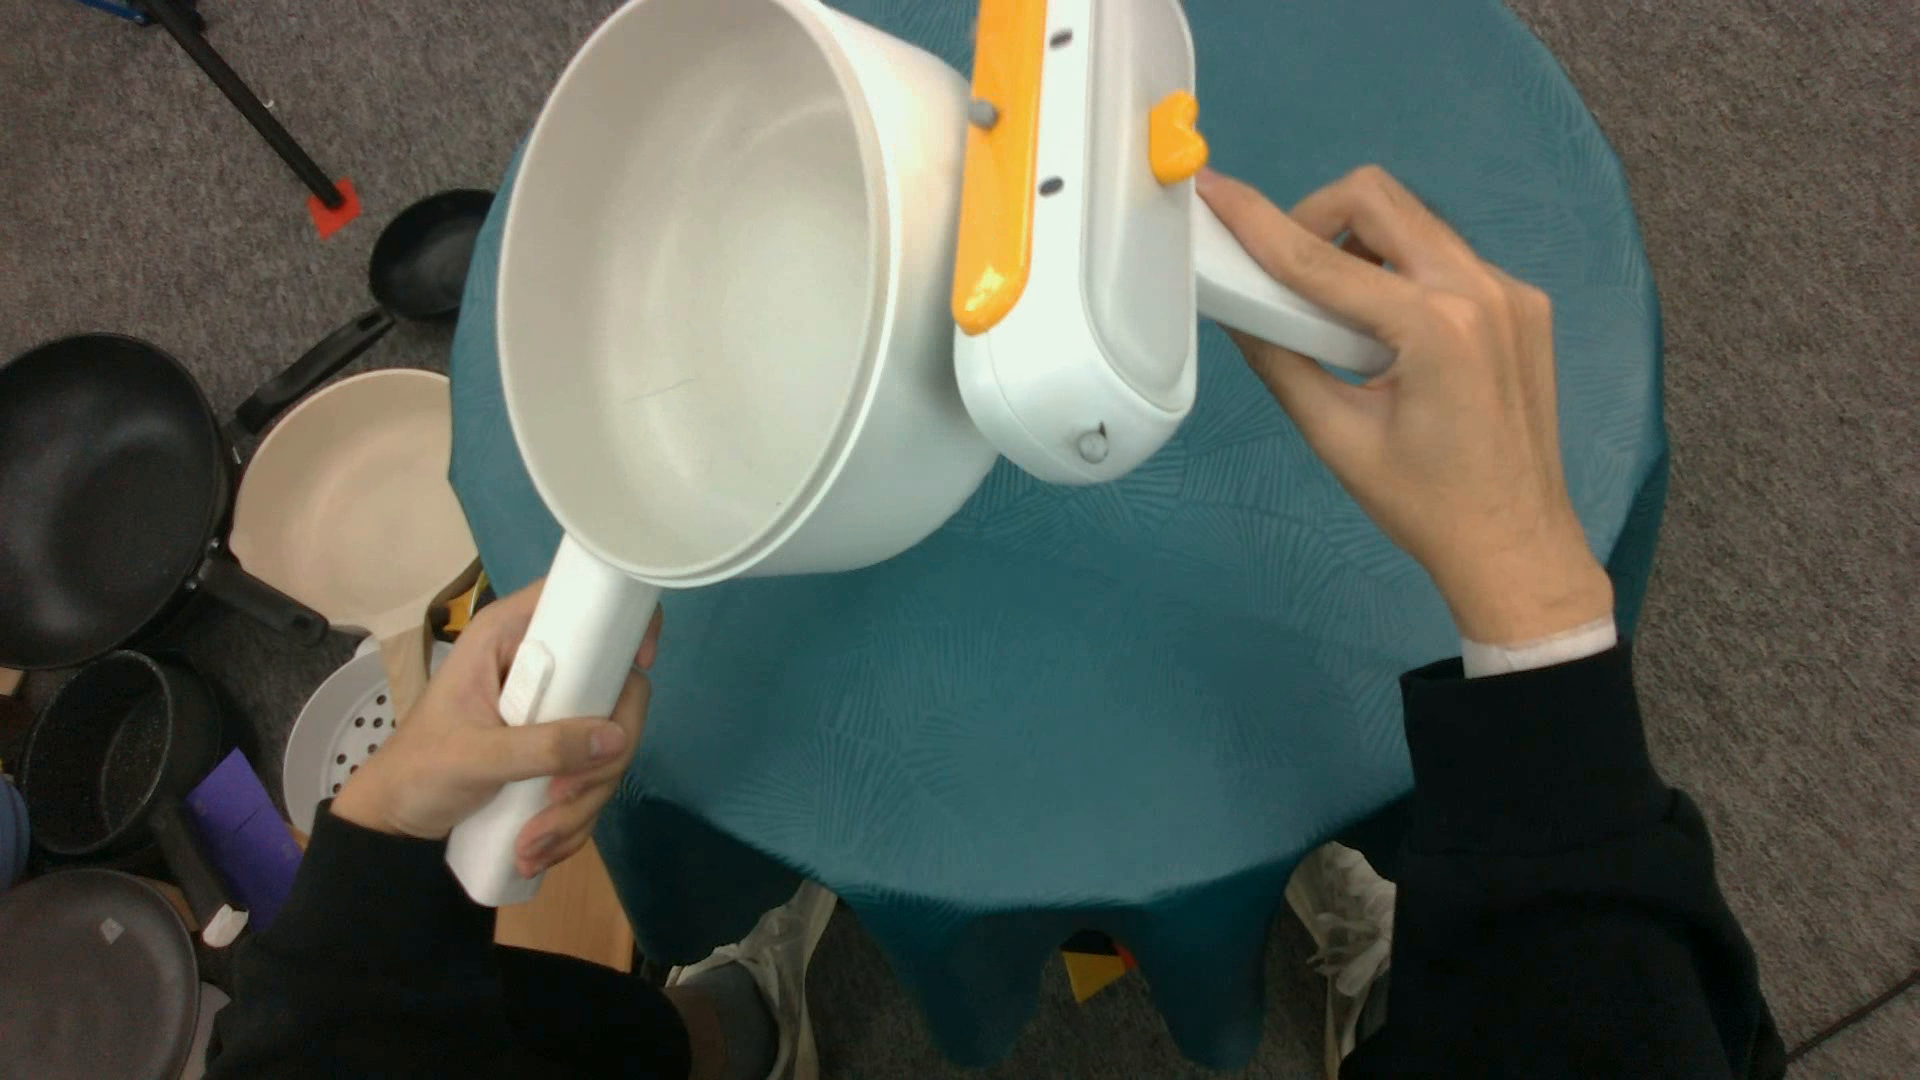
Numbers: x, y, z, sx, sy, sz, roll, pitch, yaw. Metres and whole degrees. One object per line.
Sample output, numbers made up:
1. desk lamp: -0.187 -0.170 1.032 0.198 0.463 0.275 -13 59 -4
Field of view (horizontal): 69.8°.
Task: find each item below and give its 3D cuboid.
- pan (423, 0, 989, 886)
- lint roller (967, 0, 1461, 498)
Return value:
1. pan: -0.103 -0.024 0.516 0.201 0.102 0.353 37 112 32
2. lint roller: 0.086 -0.090 0.455 0.192 0.074 0.193 22 51 -32
